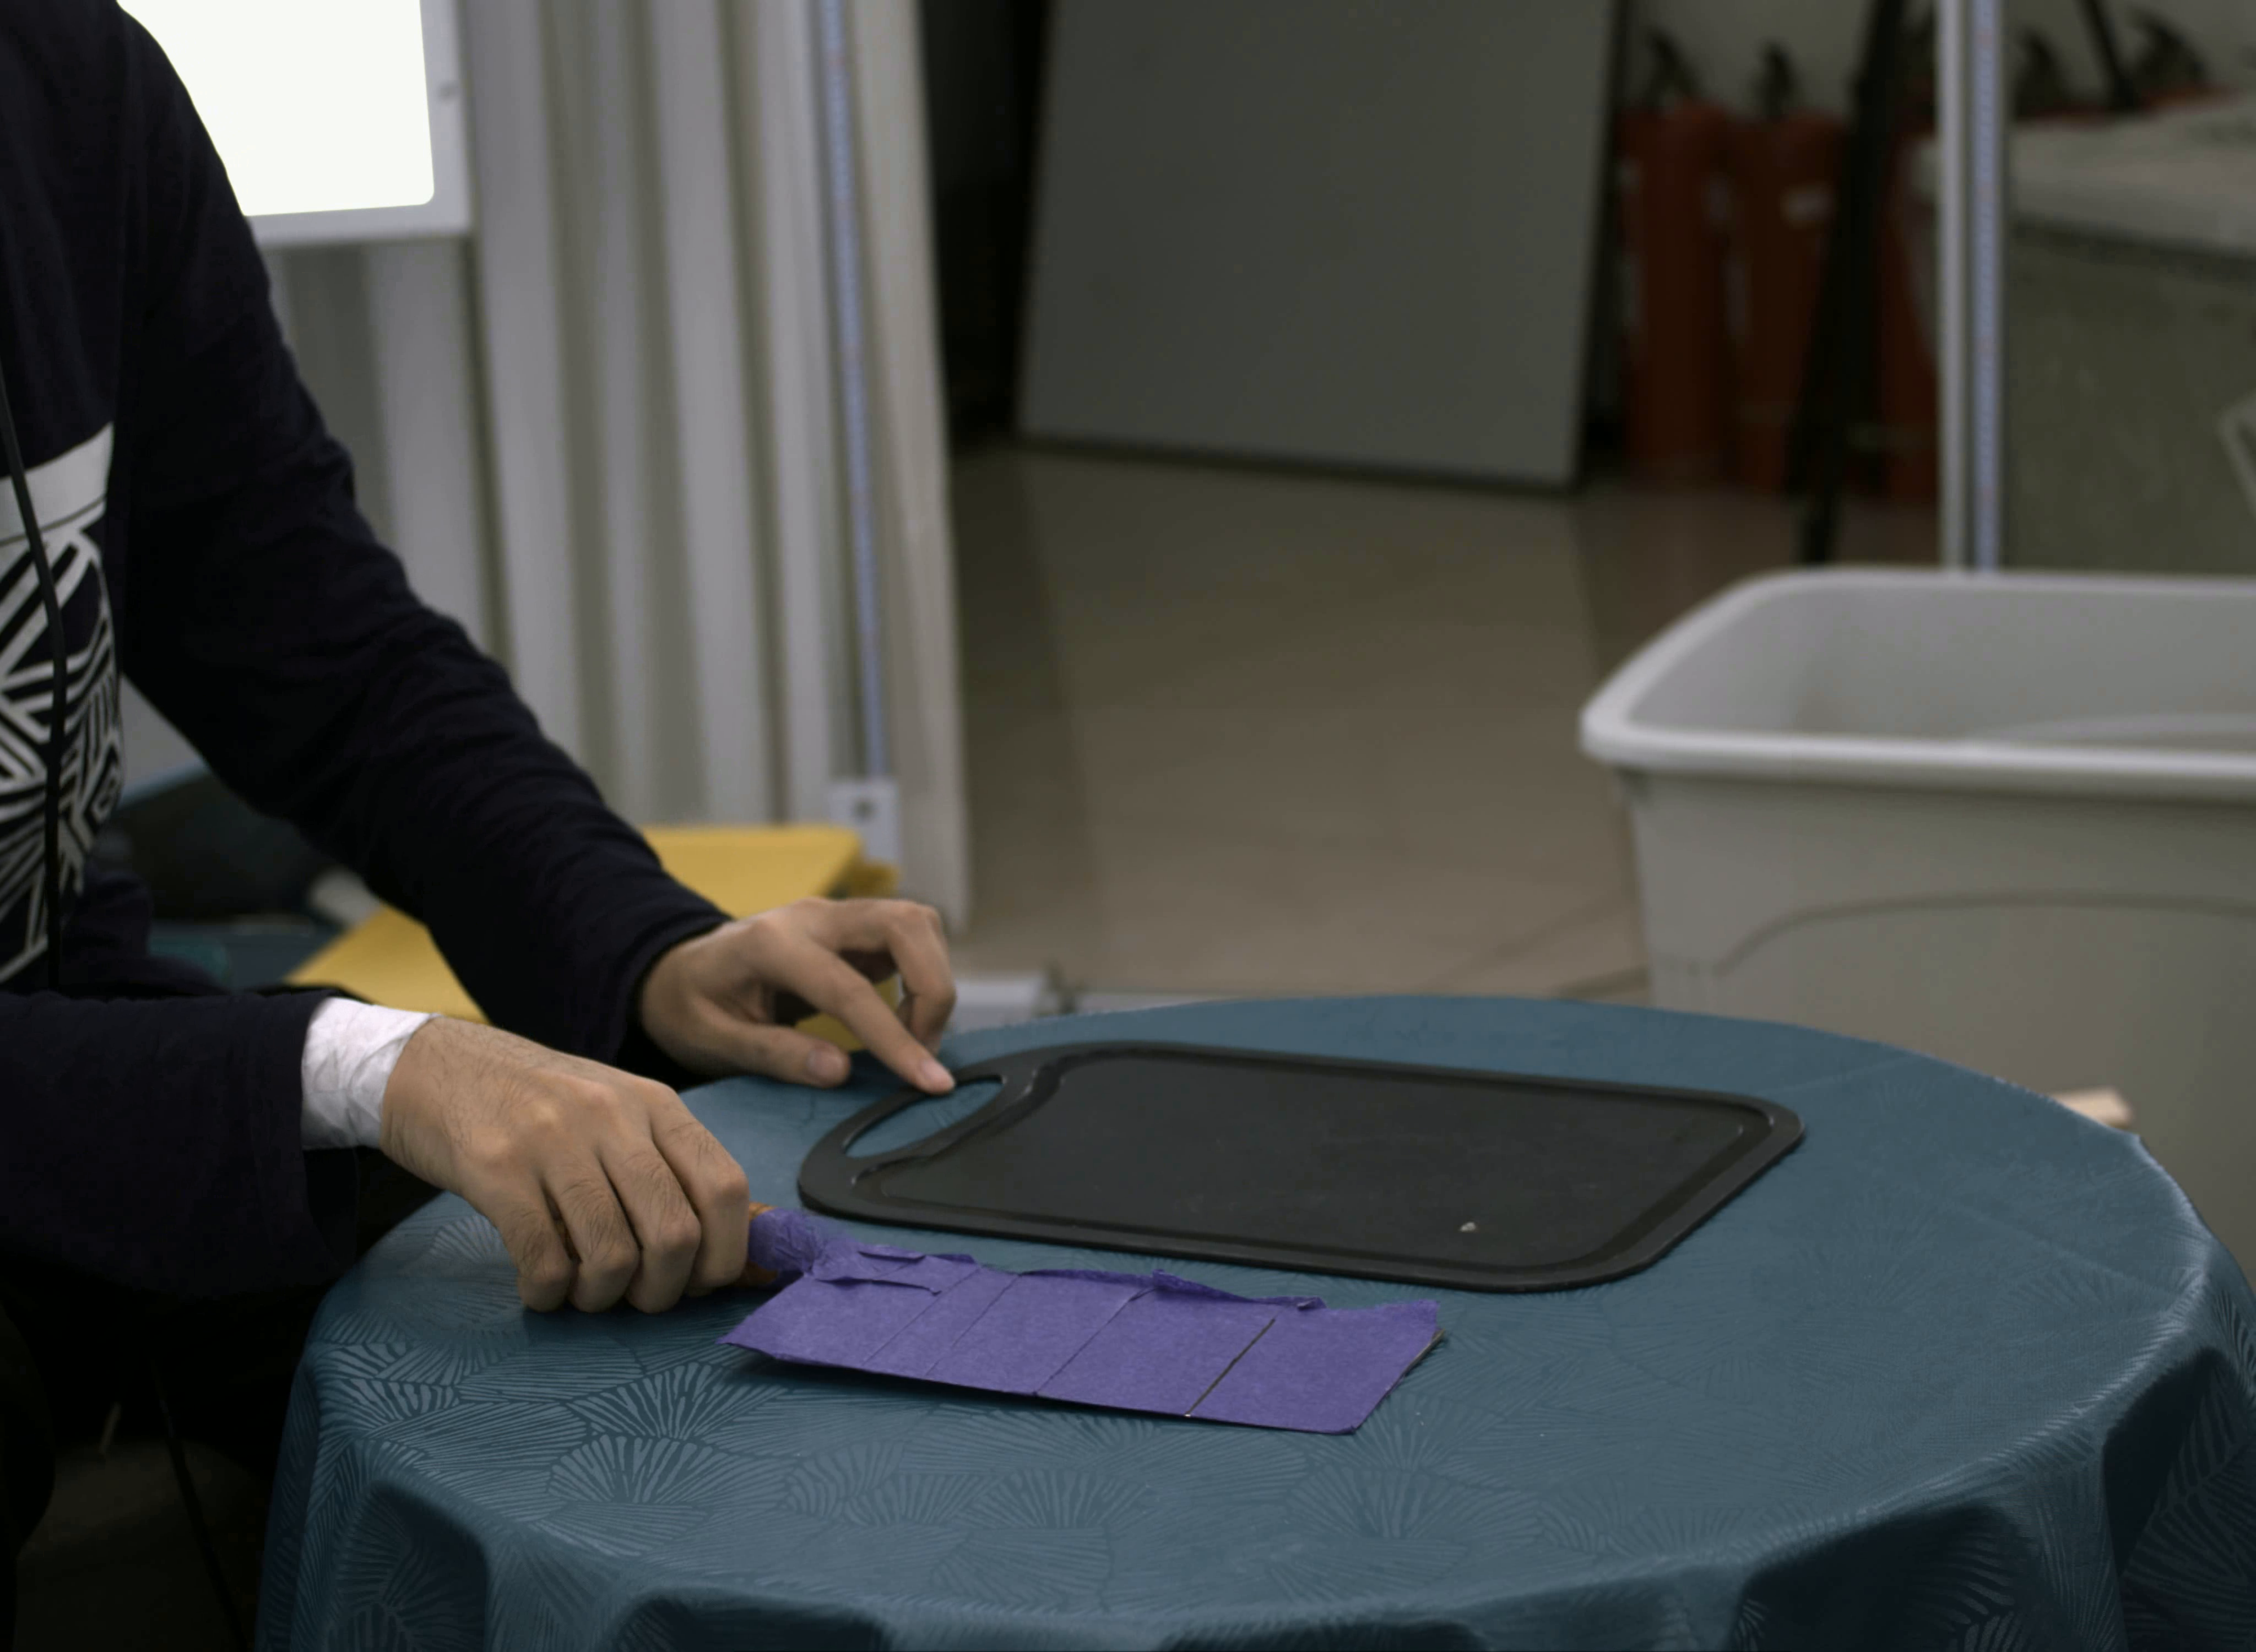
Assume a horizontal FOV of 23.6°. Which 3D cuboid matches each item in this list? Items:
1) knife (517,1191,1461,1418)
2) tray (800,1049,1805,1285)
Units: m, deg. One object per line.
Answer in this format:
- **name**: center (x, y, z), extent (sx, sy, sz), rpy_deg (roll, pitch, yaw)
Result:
- **knife**: center (-0.059, 0.145, 1.639), extent (0.315, 0.032, 0.102), rpy_deg (2, 15, 25)
- **tray**: center (0.051, 0.110, 1.795), extent (0.326, 0.010, 0.208), rpy_deg (3, 15, 29)
